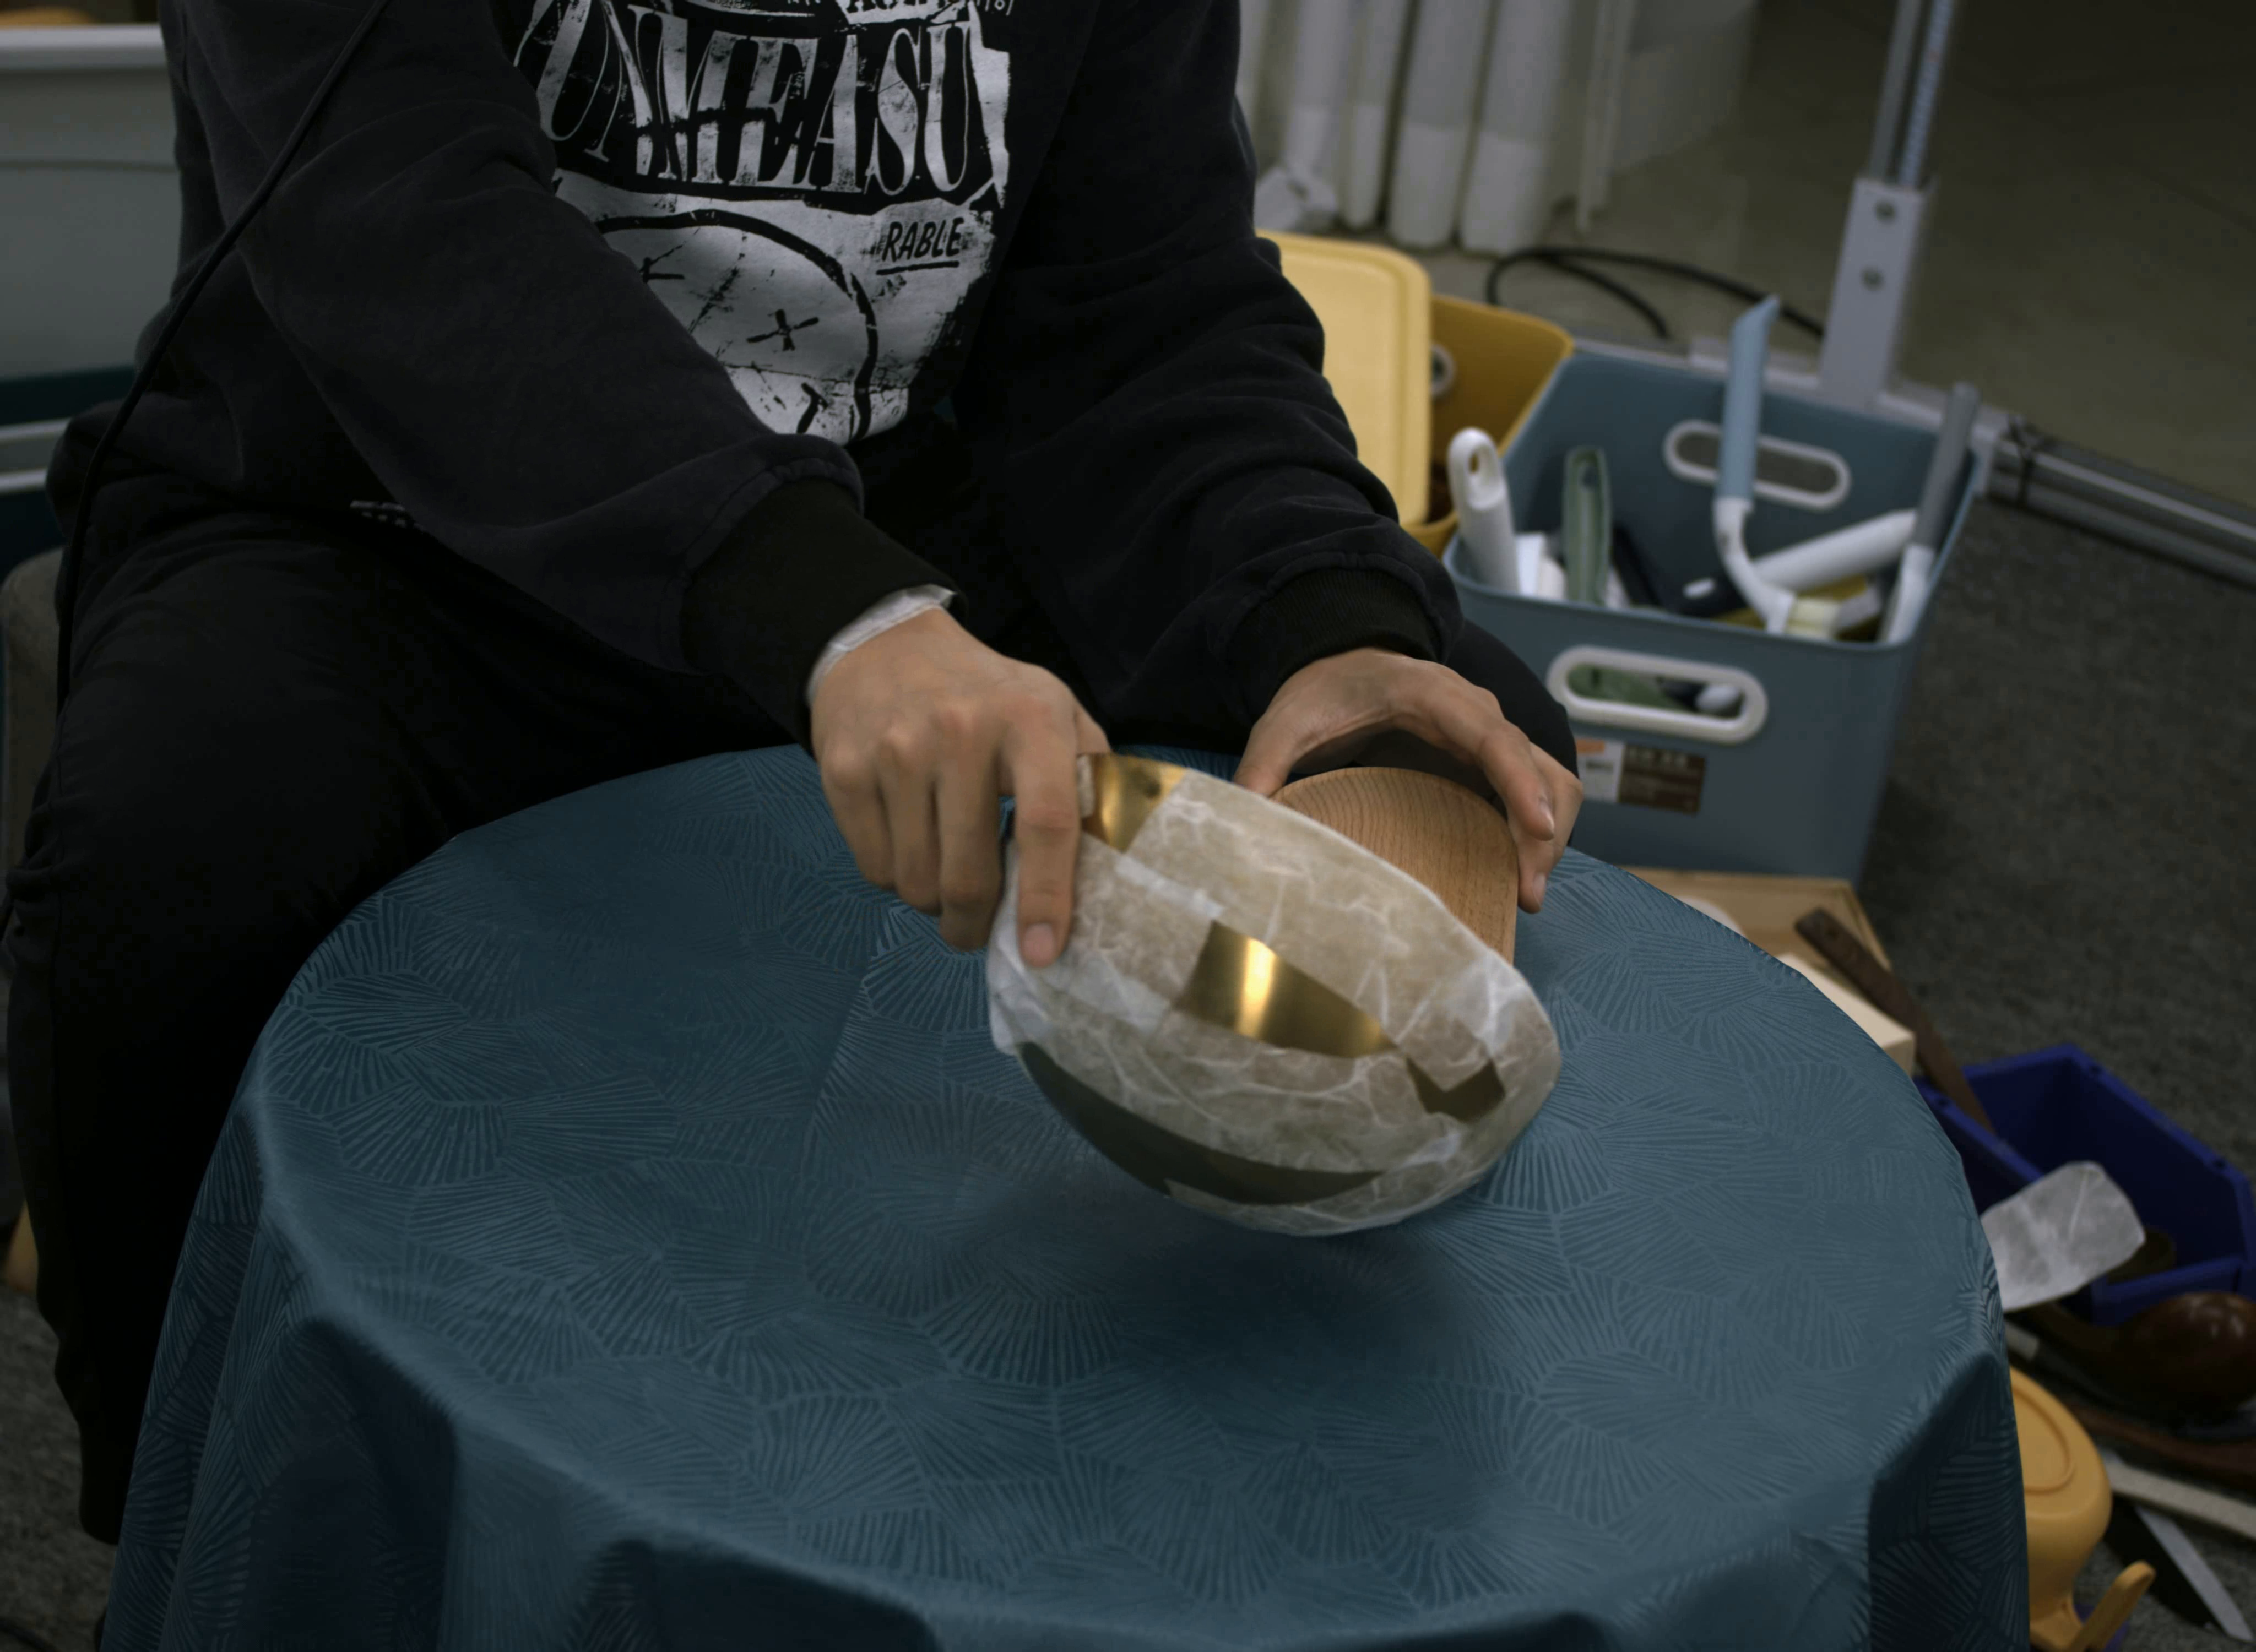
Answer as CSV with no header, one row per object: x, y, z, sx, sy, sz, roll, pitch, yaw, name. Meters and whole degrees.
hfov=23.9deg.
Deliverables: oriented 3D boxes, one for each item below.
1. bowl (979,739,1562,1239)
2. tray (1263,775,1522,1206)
0.030,0.072,1.720,0.216,0.213,0.095,21,68,25,bowl
0.088,0.056,1.892,0.101,0.020,0.233,2,39,4,tray
